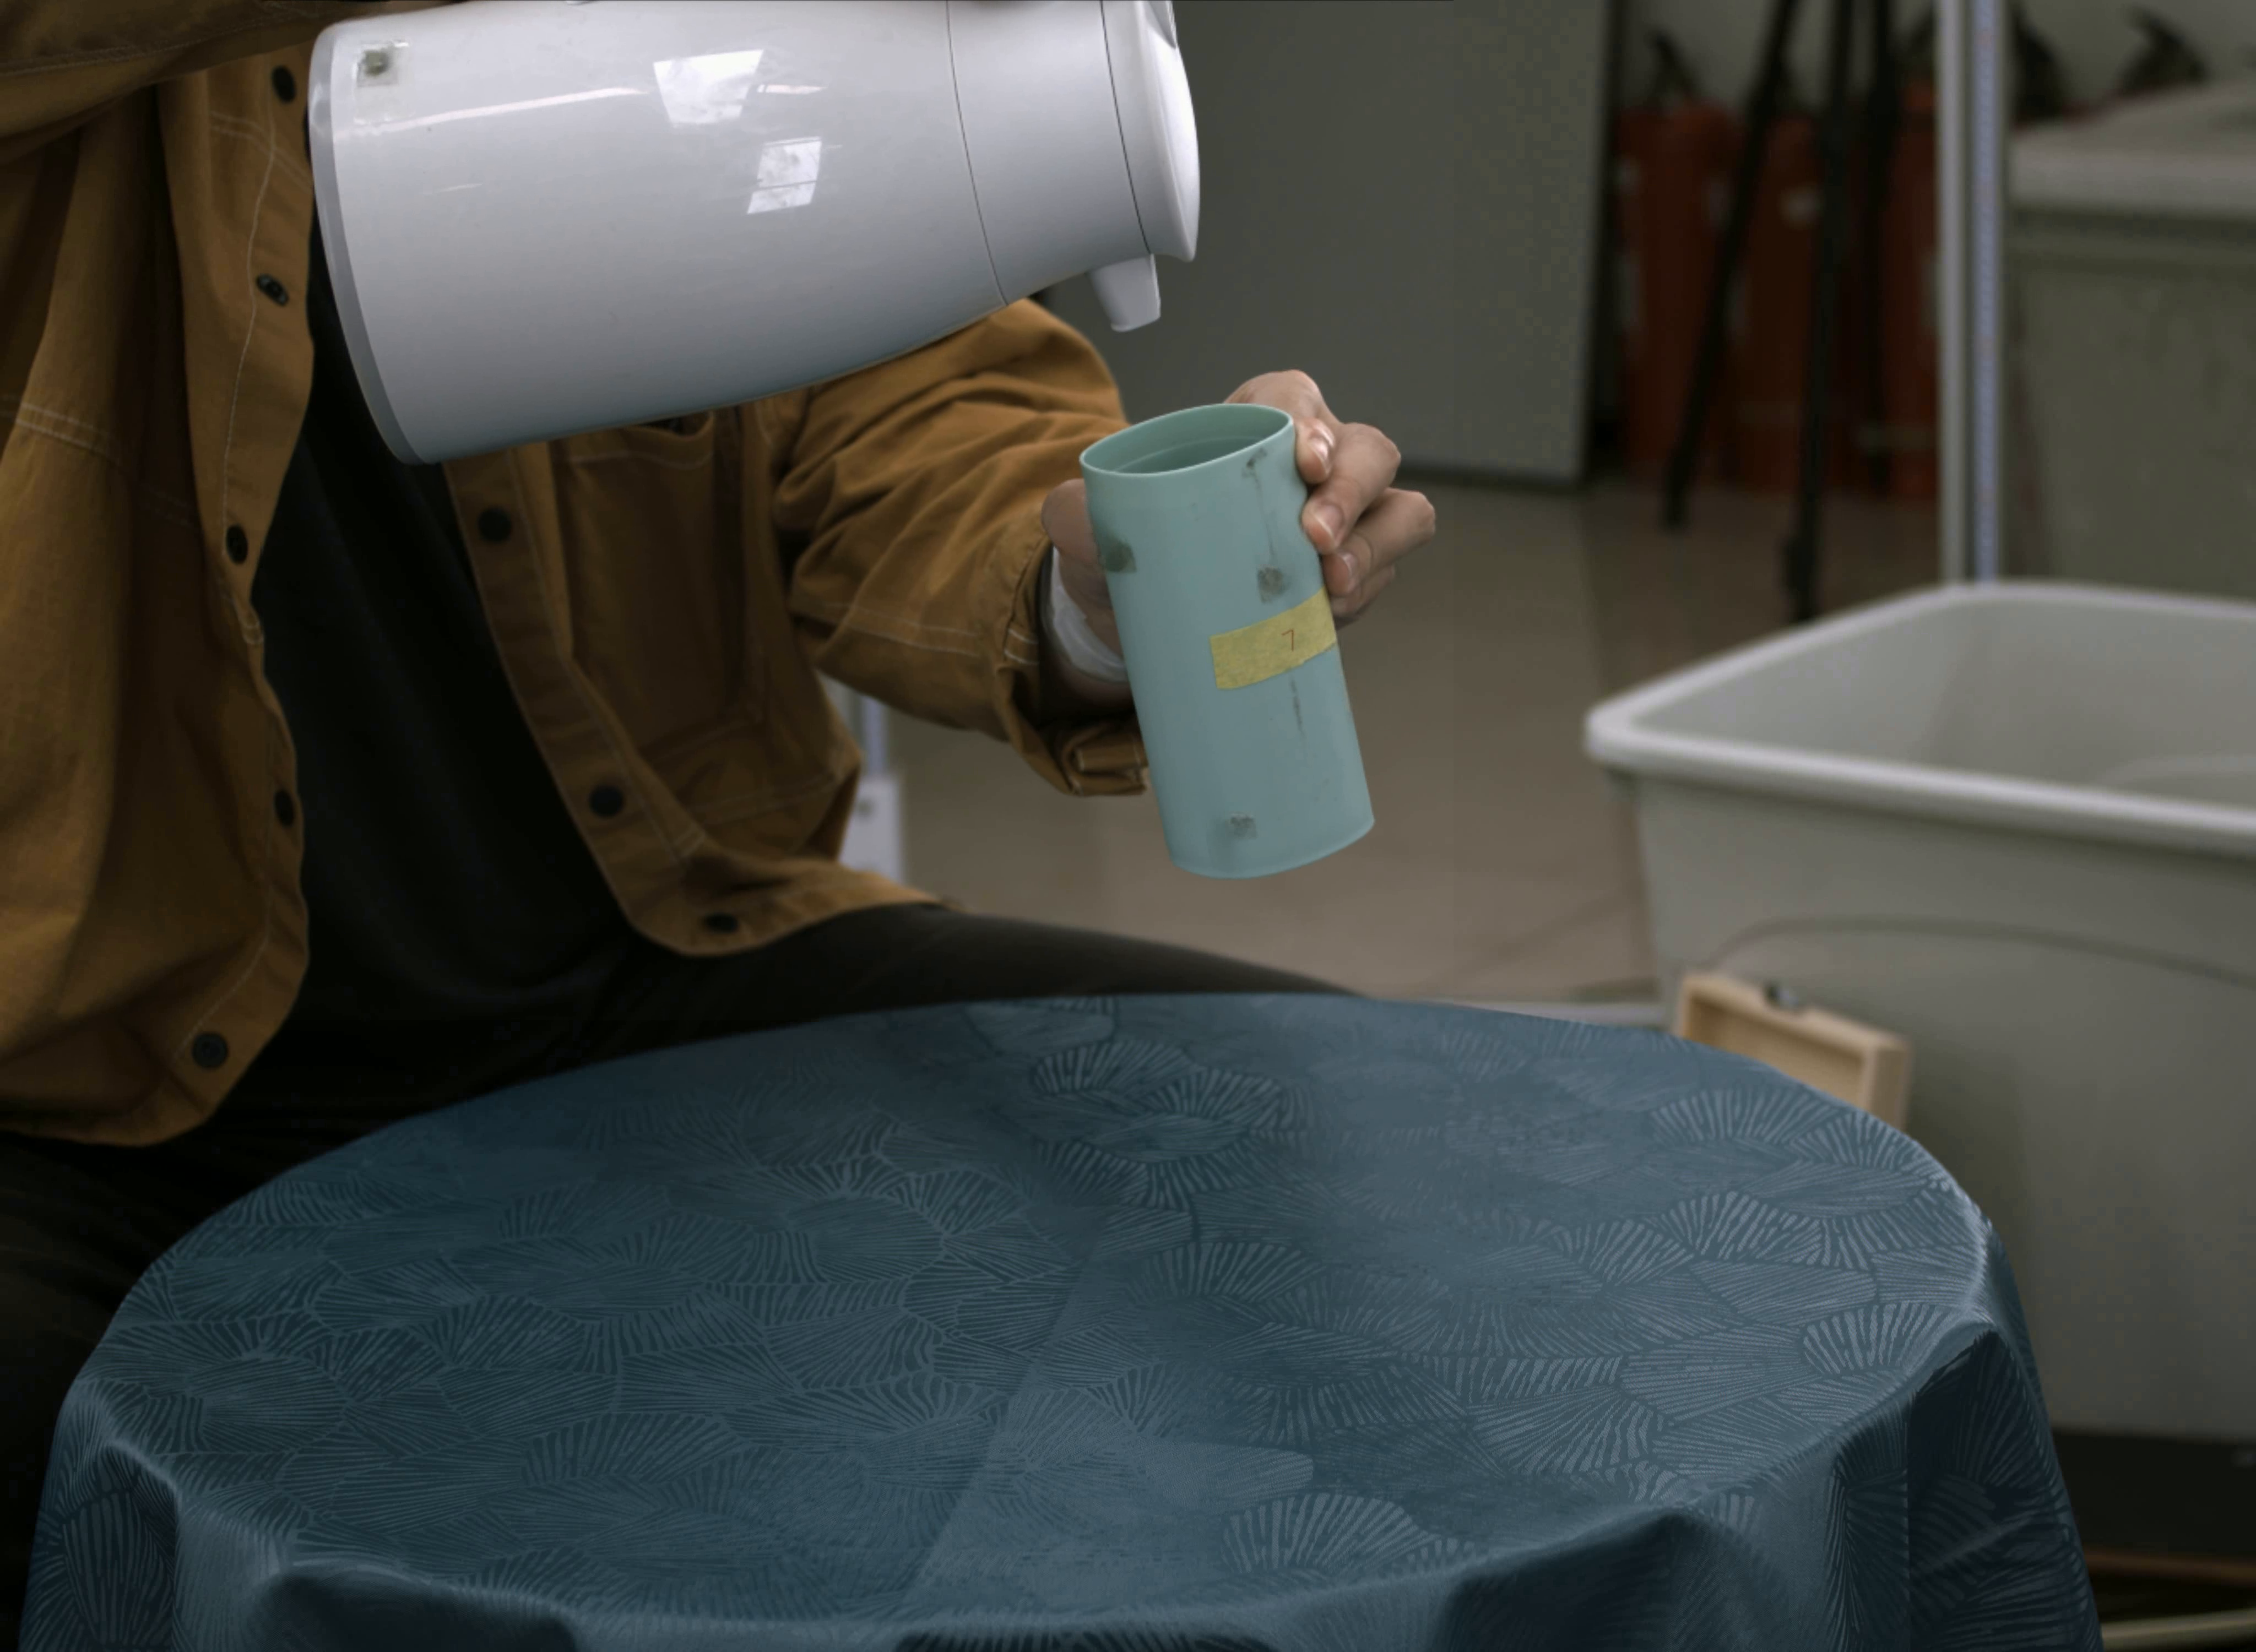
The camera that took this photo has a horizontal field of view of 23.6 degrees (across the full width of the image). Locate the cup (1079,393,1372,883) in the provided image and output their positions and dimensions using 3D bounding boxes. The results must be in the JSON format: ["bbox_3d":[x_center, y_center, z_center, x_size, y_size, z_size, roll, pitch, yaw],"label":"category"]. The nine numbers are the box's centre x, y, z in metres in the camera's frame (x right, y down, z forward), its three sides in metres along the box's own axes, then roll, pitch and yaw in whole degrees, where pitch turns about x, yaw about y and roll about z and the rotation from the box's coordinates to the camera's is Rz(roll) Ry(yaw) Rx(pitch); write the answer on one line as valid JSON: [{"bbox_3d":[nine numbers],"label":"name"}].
[{"bbox_3d":[0.029,-0.057,1.618,0.066,0.133,0.067,-12,18,3],"label":"cup"}]

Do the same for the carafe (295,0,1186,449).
[{"bbox_3d":[-0.110,-0.212,1.571,0.246,0.169,0.133,-10,23,7],"label":"carafe"}]
